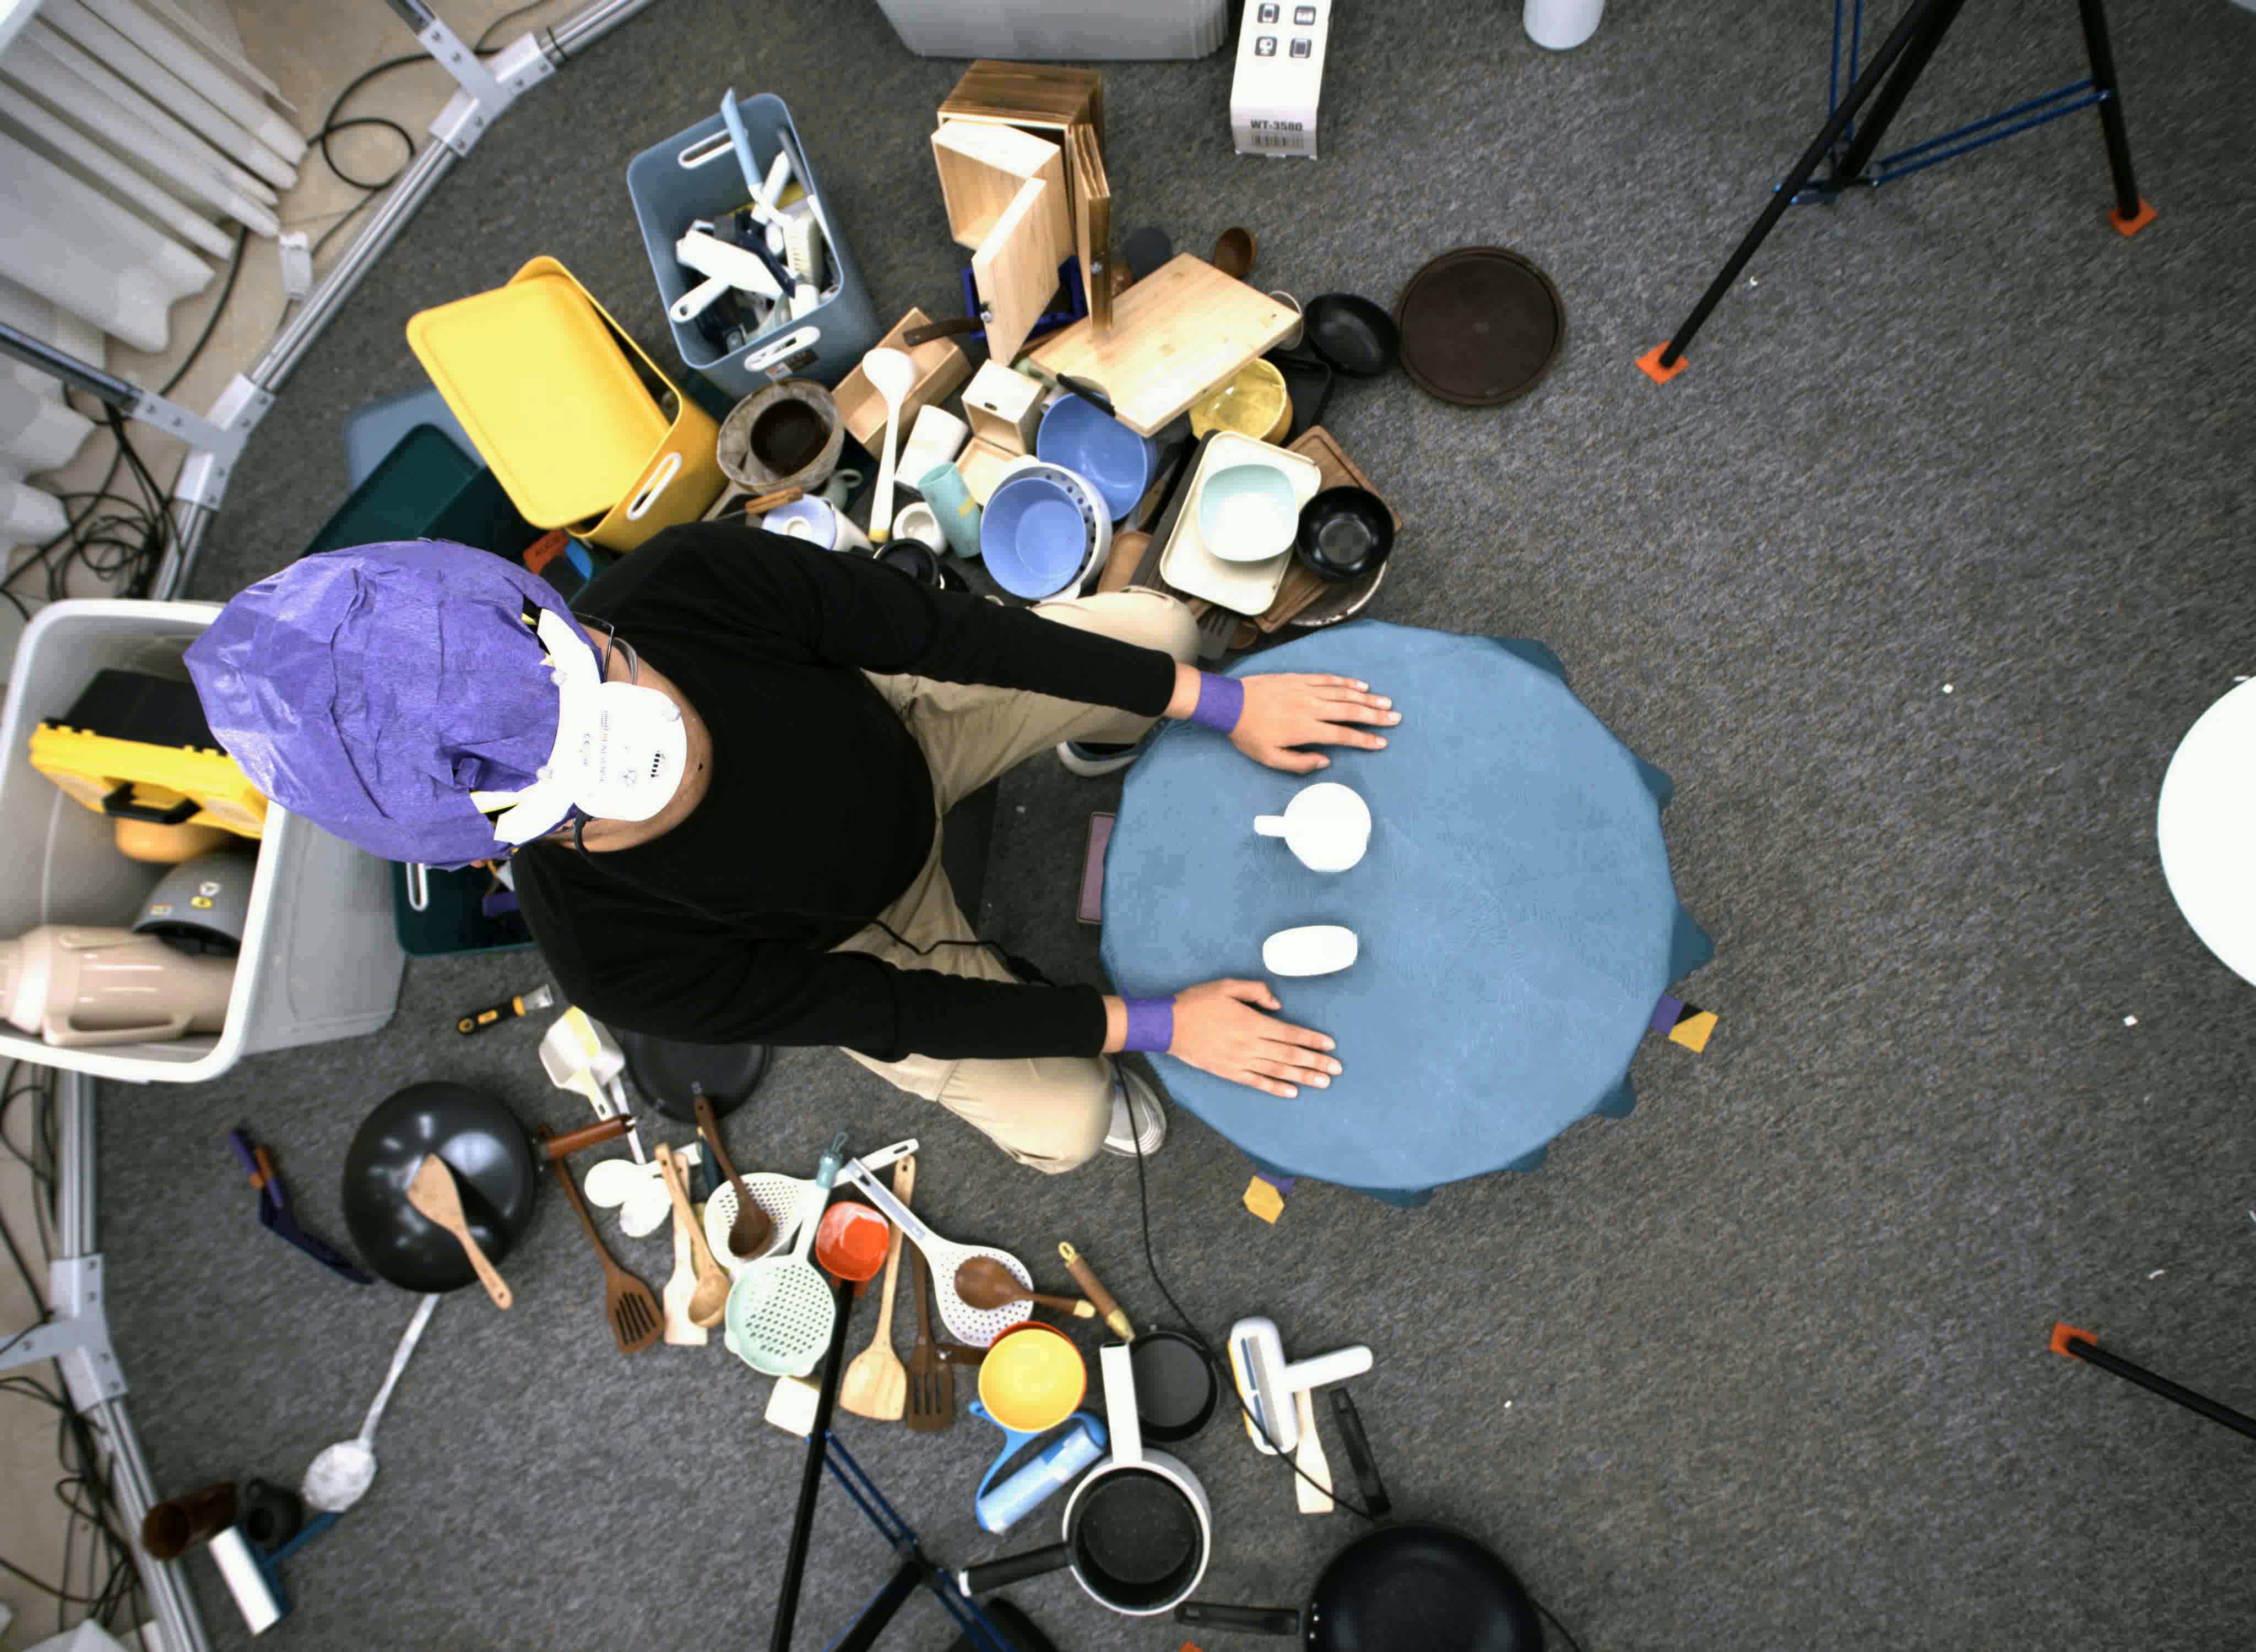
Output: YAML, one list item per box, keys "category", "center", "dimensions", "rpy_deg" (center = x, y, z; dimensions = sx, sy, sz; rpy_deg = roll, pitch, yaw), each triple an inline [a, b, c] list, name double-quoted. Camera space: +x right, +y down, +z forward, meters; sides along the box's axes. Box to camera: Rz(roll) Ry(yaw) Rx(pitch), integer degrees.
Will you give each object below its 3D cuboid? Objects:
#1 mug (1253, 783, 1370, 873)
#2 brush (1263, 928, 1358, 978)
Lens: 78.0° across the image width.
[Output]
- category: "mug"
  center: [0.190, 0.002, 1.425]
  dimensions: [0.118, 0.102, 0.084]
  rpy_deg: [3, 86, 11]
- category: "brush"
  center: [0.188, 0.130, 1.433]
  dimensions: [0.099, 0.073, 0.050]
  rpy_deg: [-5, 82, 9]
